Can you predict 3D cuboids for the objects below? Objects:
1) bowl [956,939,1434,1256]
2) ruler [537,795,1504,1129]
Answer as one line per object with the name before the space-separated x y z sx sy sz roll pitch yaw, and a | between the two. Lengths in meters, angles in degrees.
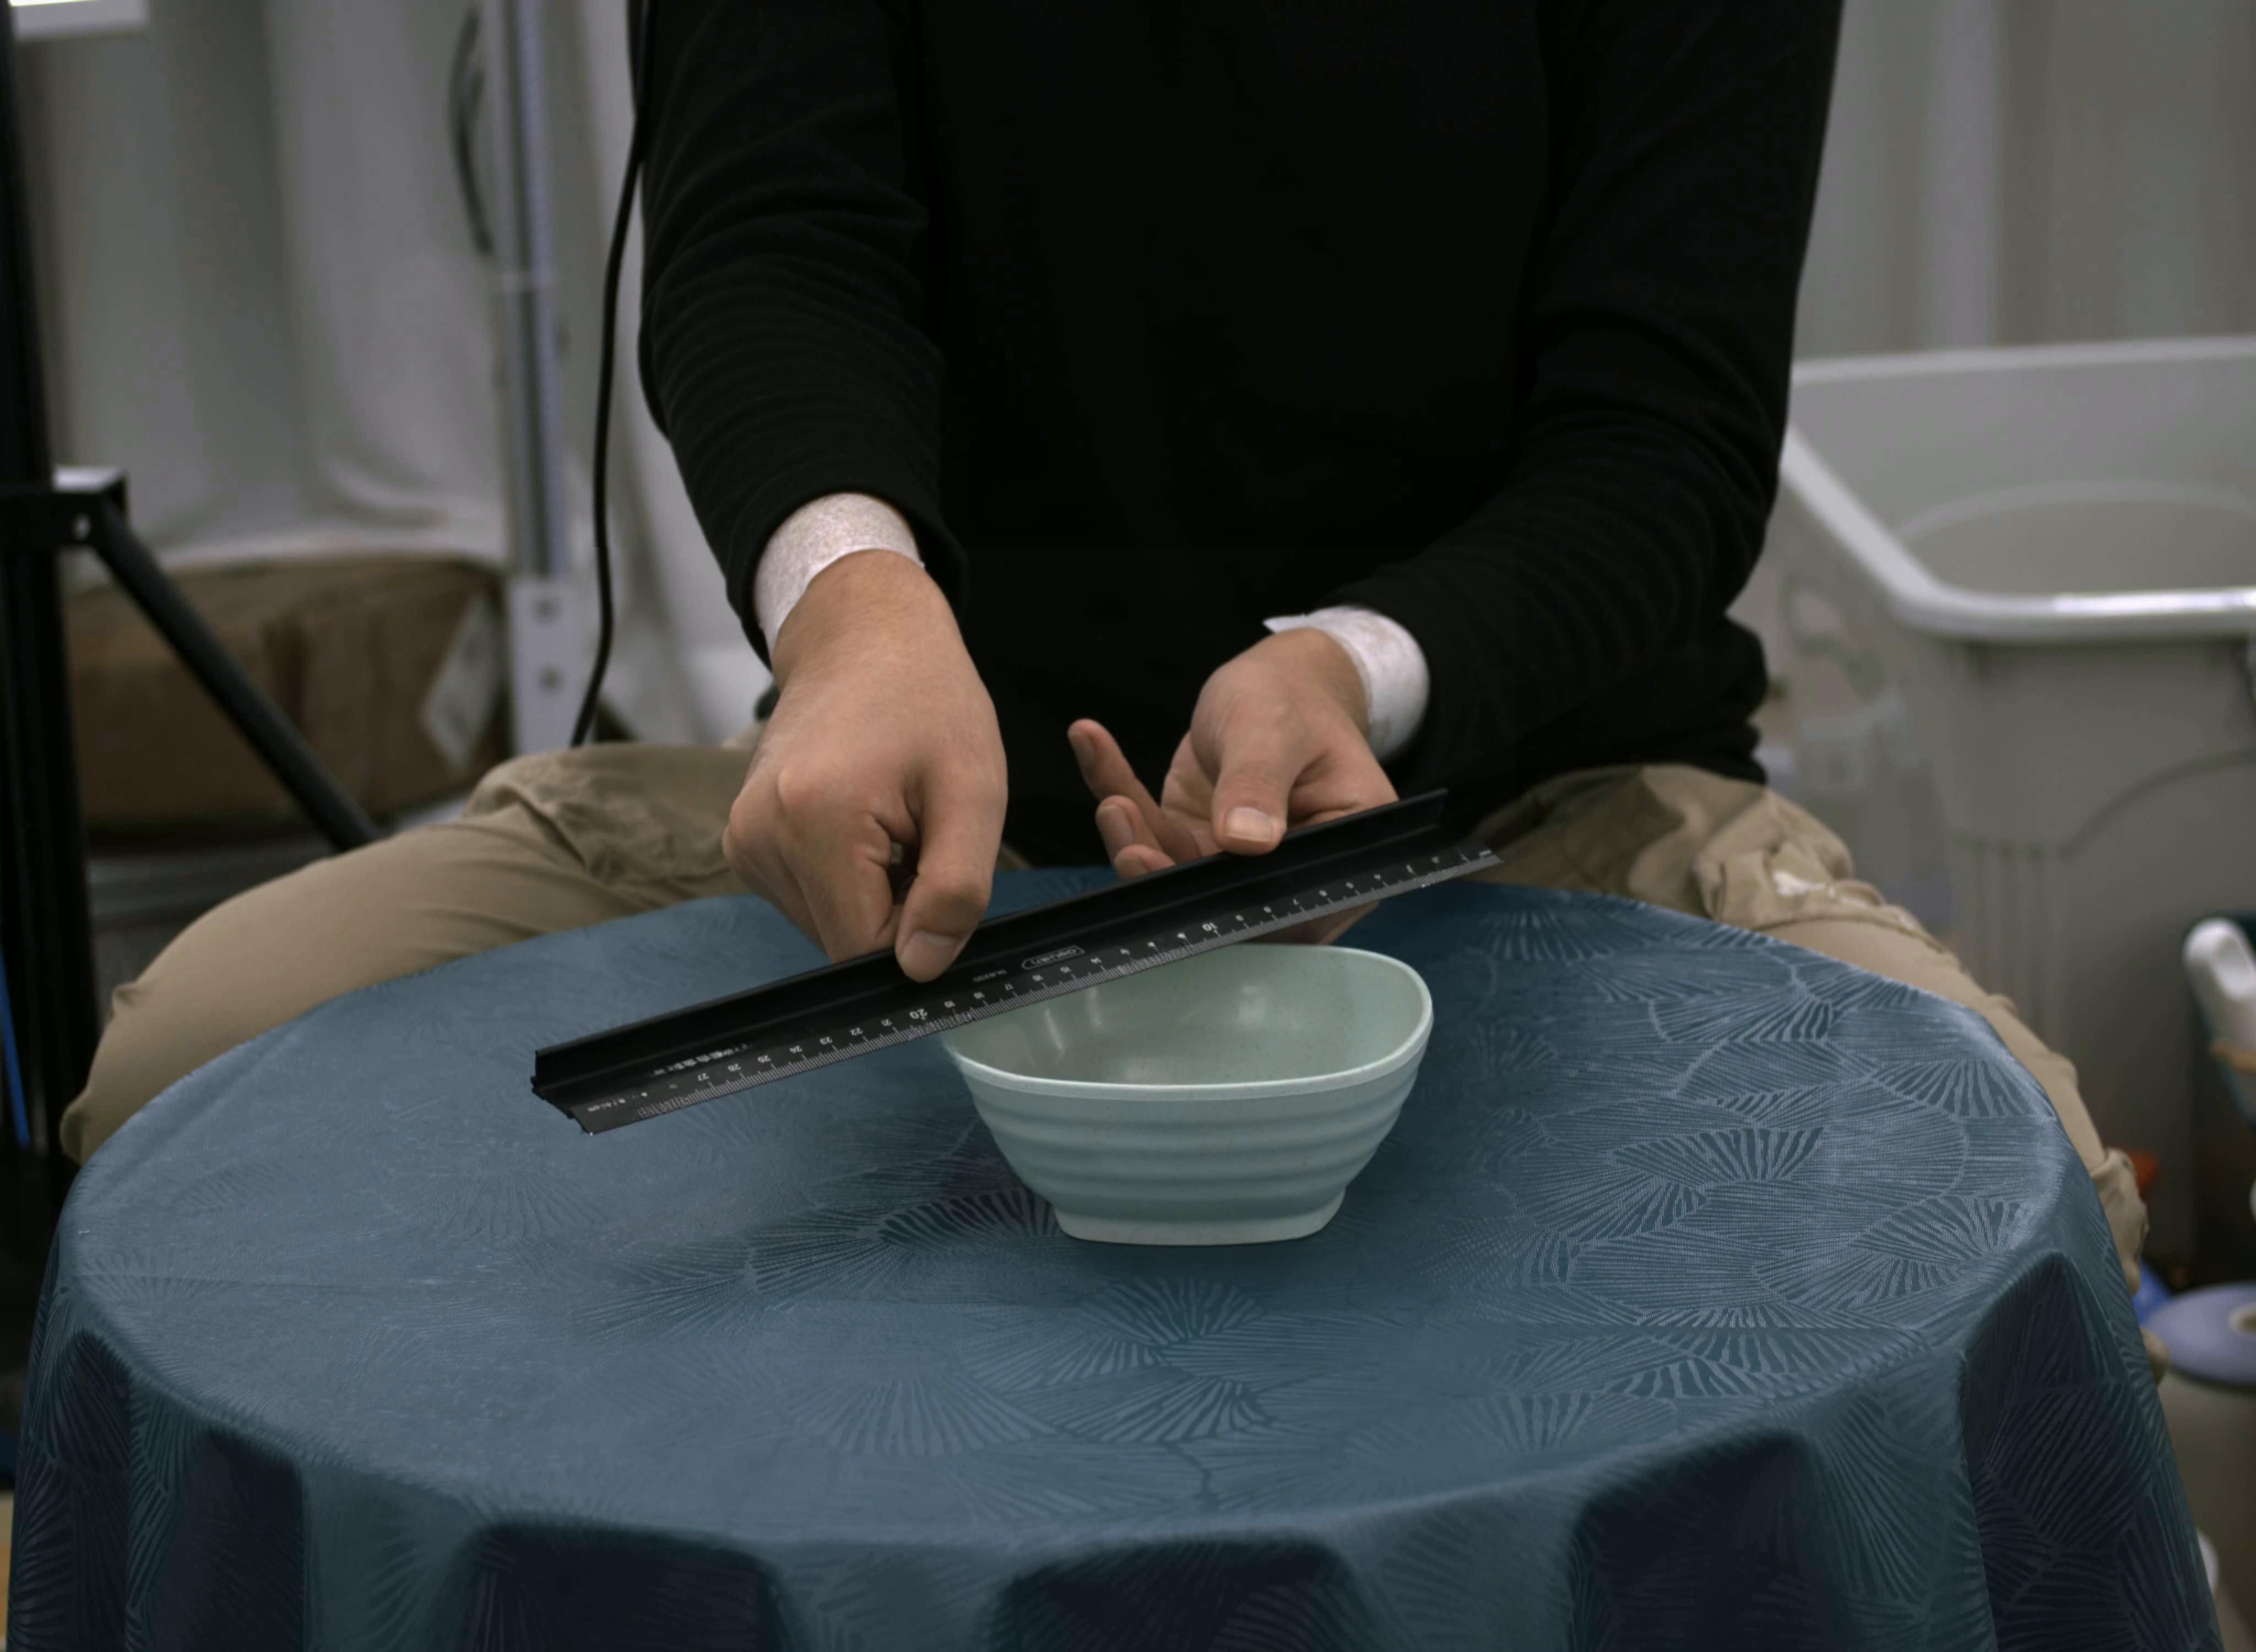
bowl | 0.021 0.082 1.545 0.151 0.058 0.152 -4 17 0
ruler | -0.027 0.038 1.560 0.306 0.017 0.040 -15 27 -25
